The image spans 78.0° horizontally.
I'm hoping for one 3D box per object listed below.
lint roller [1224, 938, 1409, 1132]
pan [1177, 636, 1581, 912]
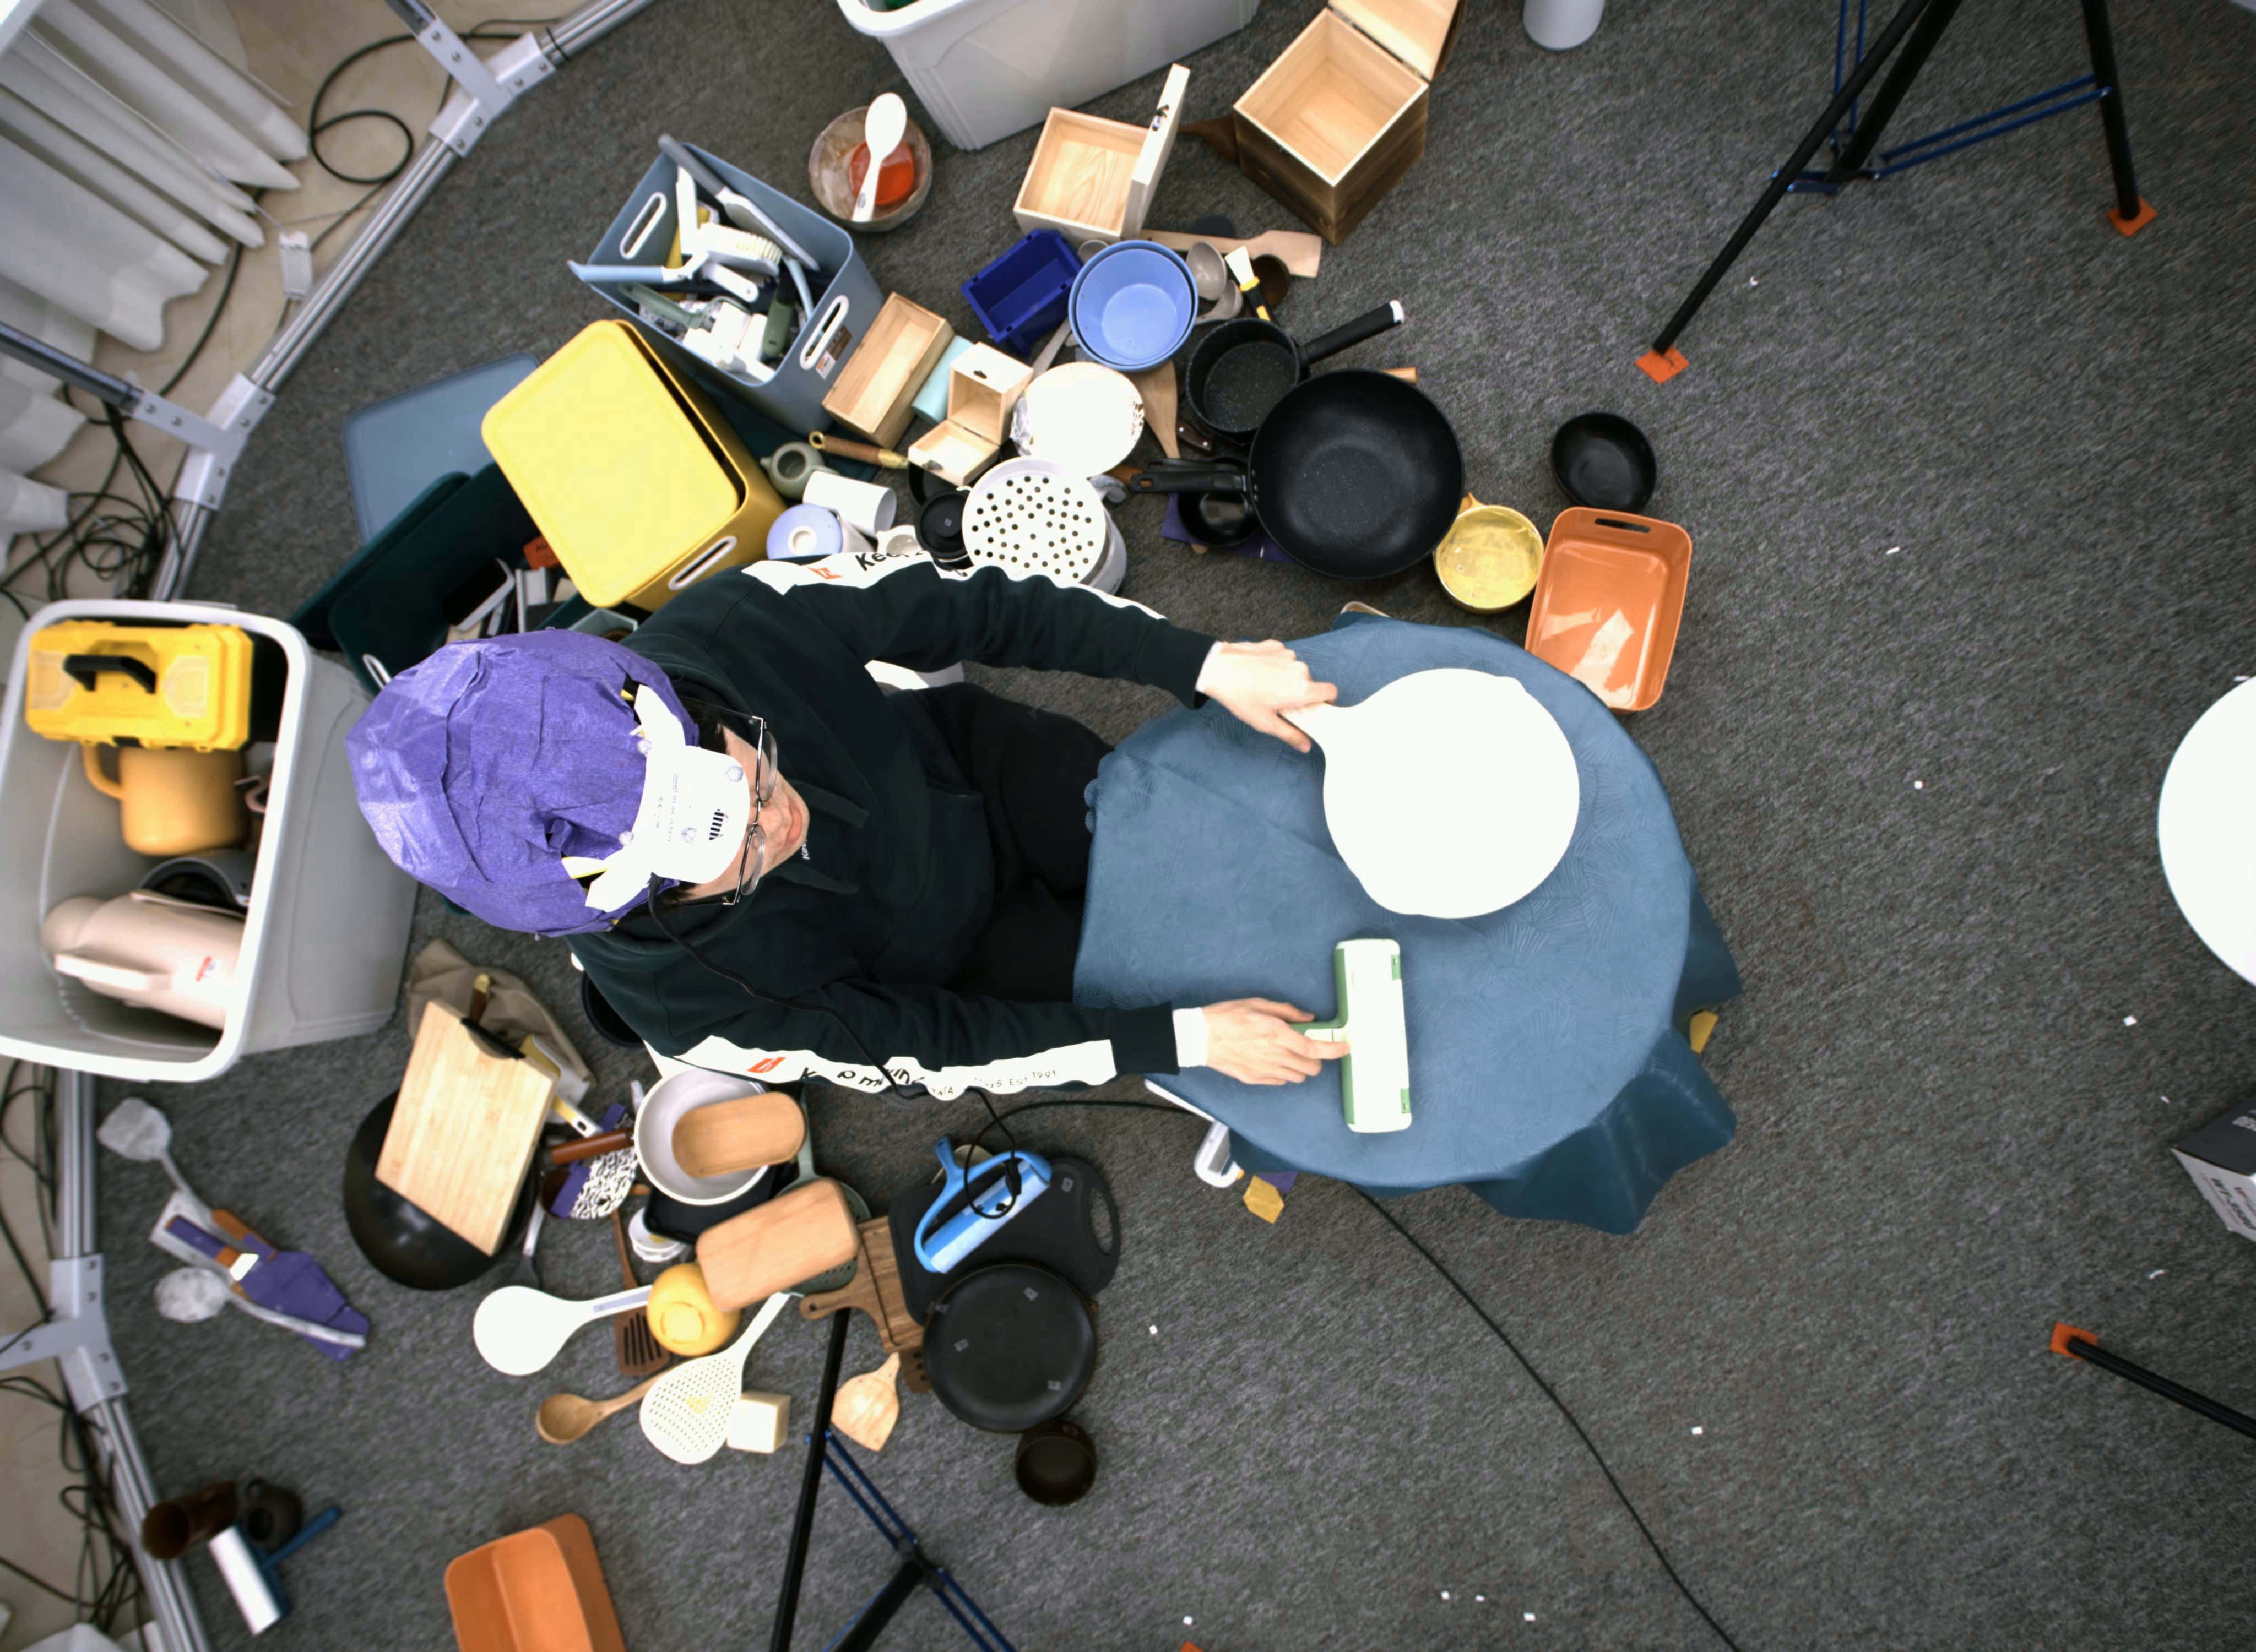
[{"bbox_3d":[0.191,0.216,1.422,0.184,0.082,0.198,-3,86,3],"label":"lint roller"},{"bbox_3d":[0.249,-0.082,1.417,0.434,0.102,0.264,29,94,10],"label":"pan"}]
